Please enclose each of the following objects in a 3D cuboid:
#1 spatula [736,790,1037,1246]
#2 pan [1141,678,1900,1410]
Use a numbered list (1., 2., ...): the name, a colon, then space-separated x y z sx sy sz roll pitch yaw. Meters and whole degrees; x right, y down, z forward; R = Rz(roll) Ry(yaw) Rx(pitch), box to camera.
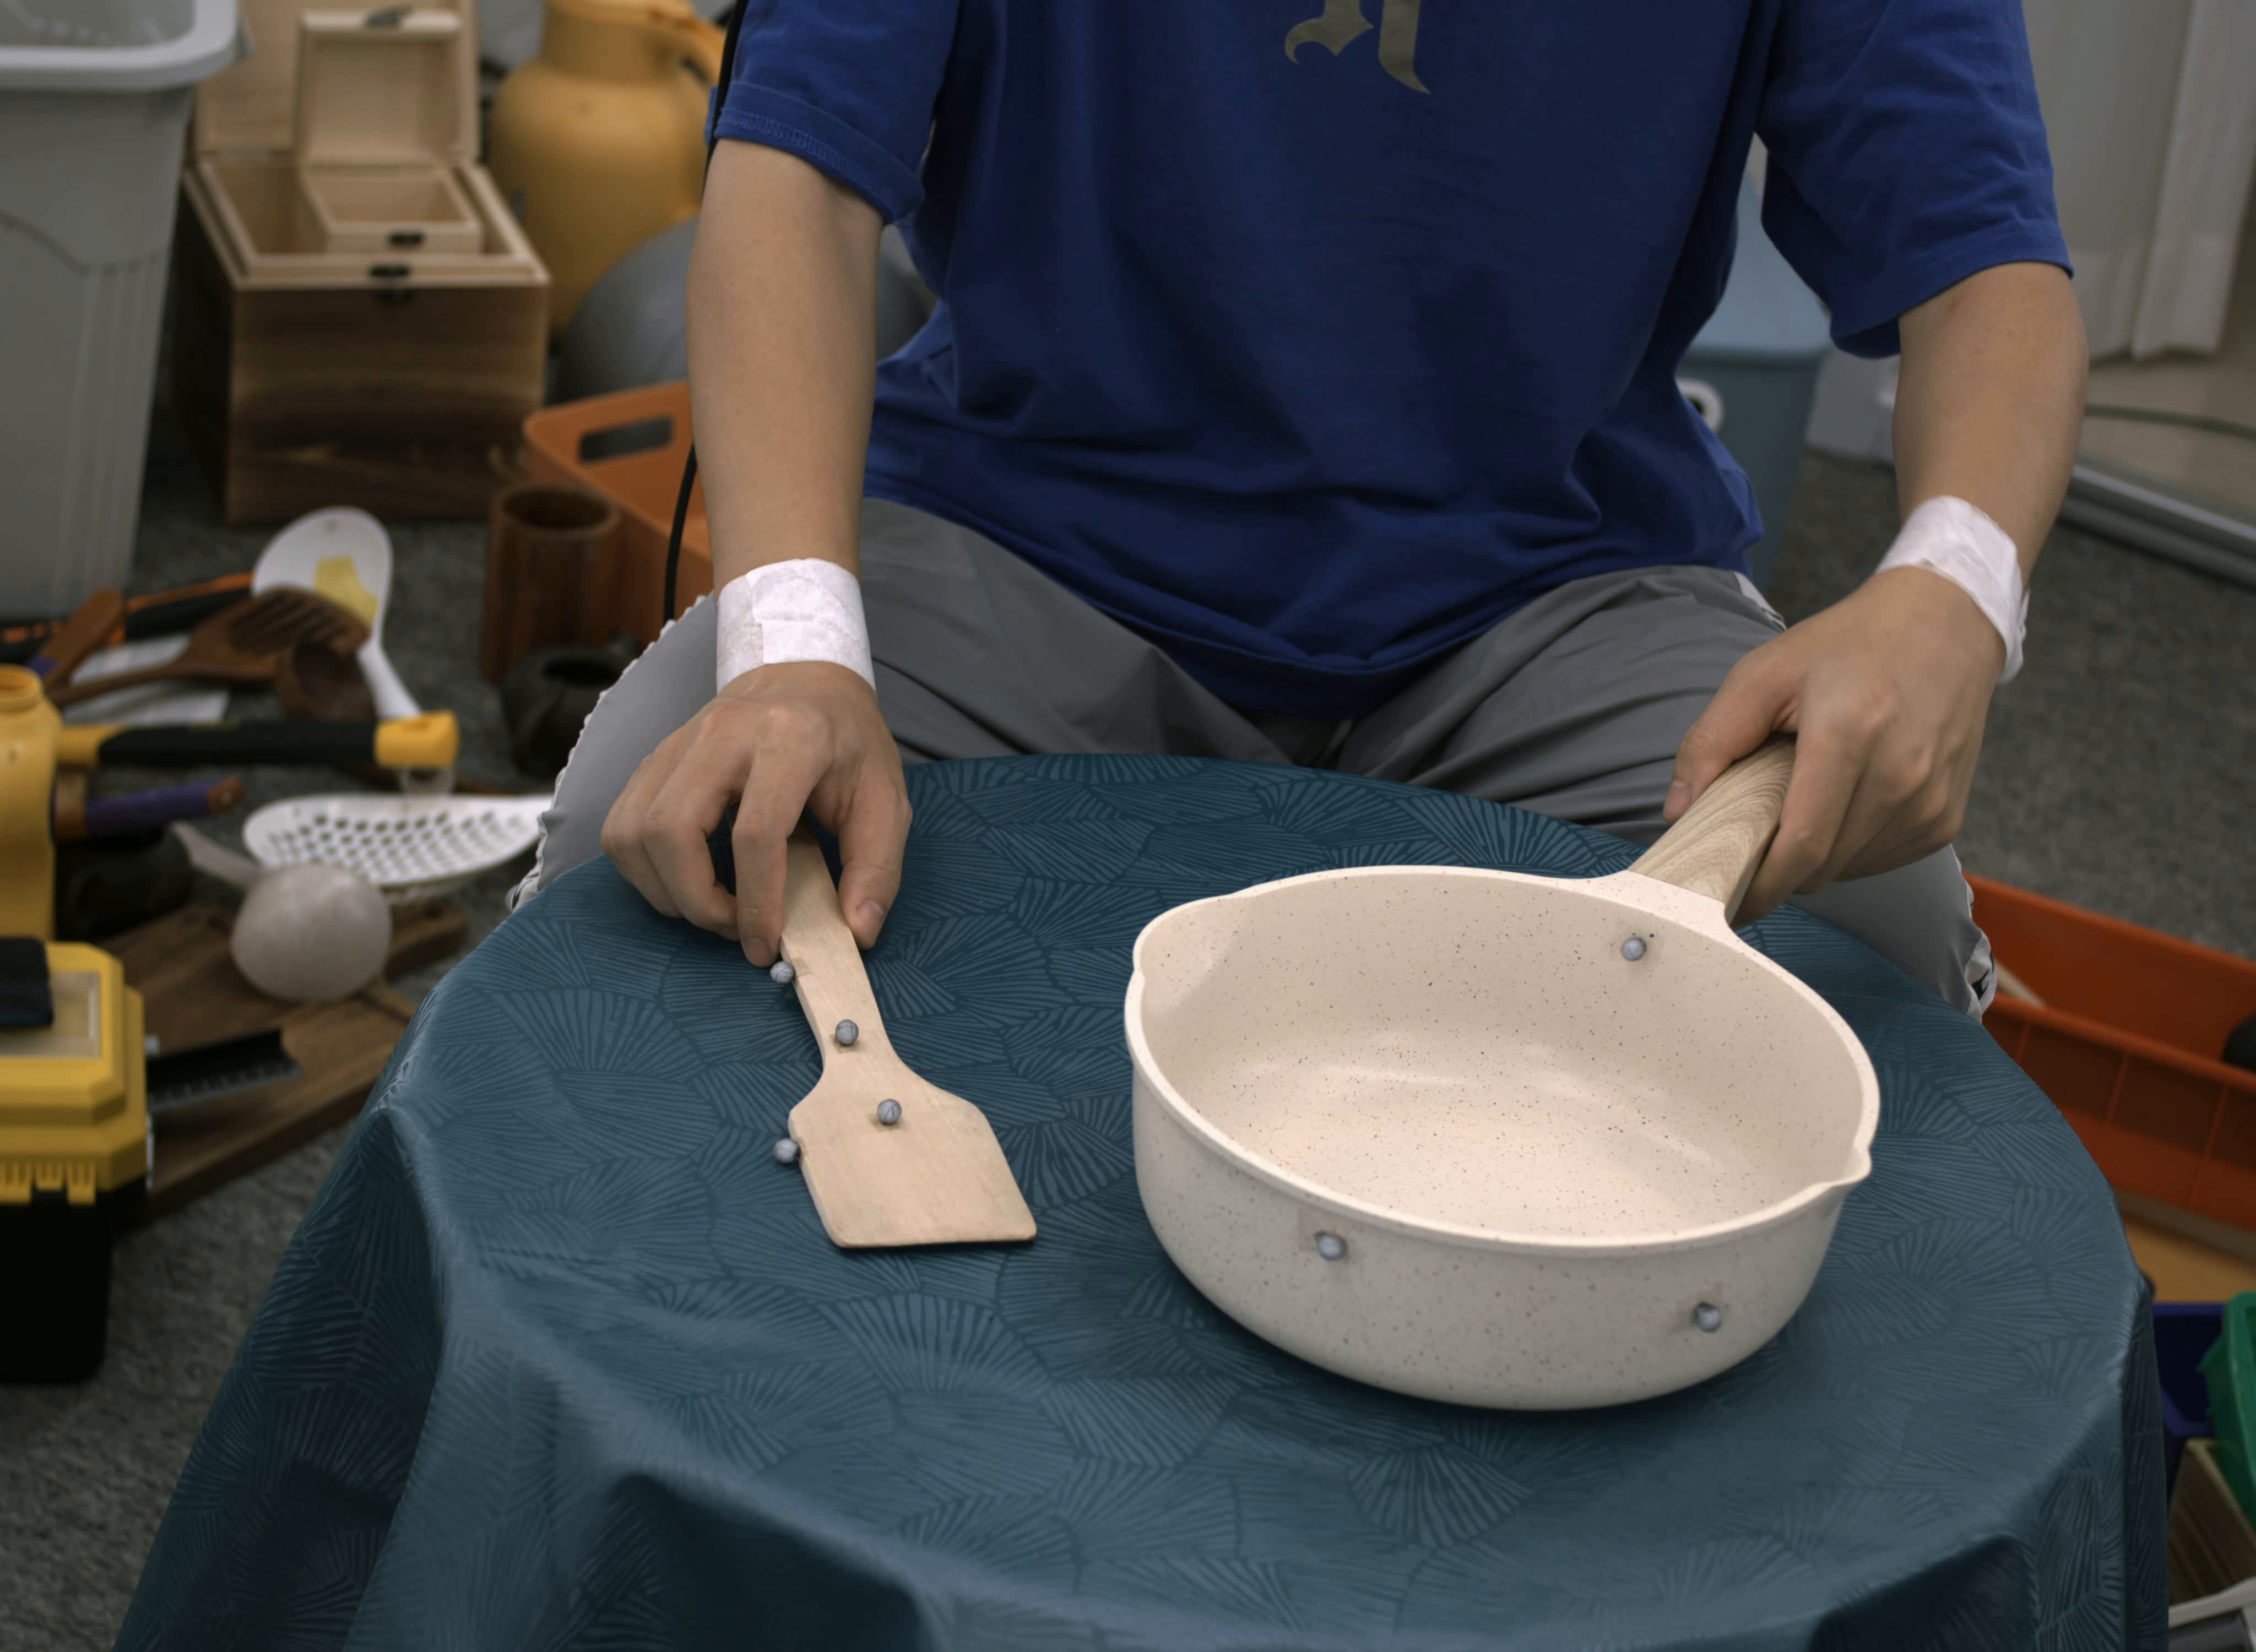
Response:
1. spatula: -0.100 0.064 1.878 0.072 0.010 0.295 -2 31 -16
2. pan: 0.167 0.068 1.841 0.264 0.101 0.434 17 28 23
